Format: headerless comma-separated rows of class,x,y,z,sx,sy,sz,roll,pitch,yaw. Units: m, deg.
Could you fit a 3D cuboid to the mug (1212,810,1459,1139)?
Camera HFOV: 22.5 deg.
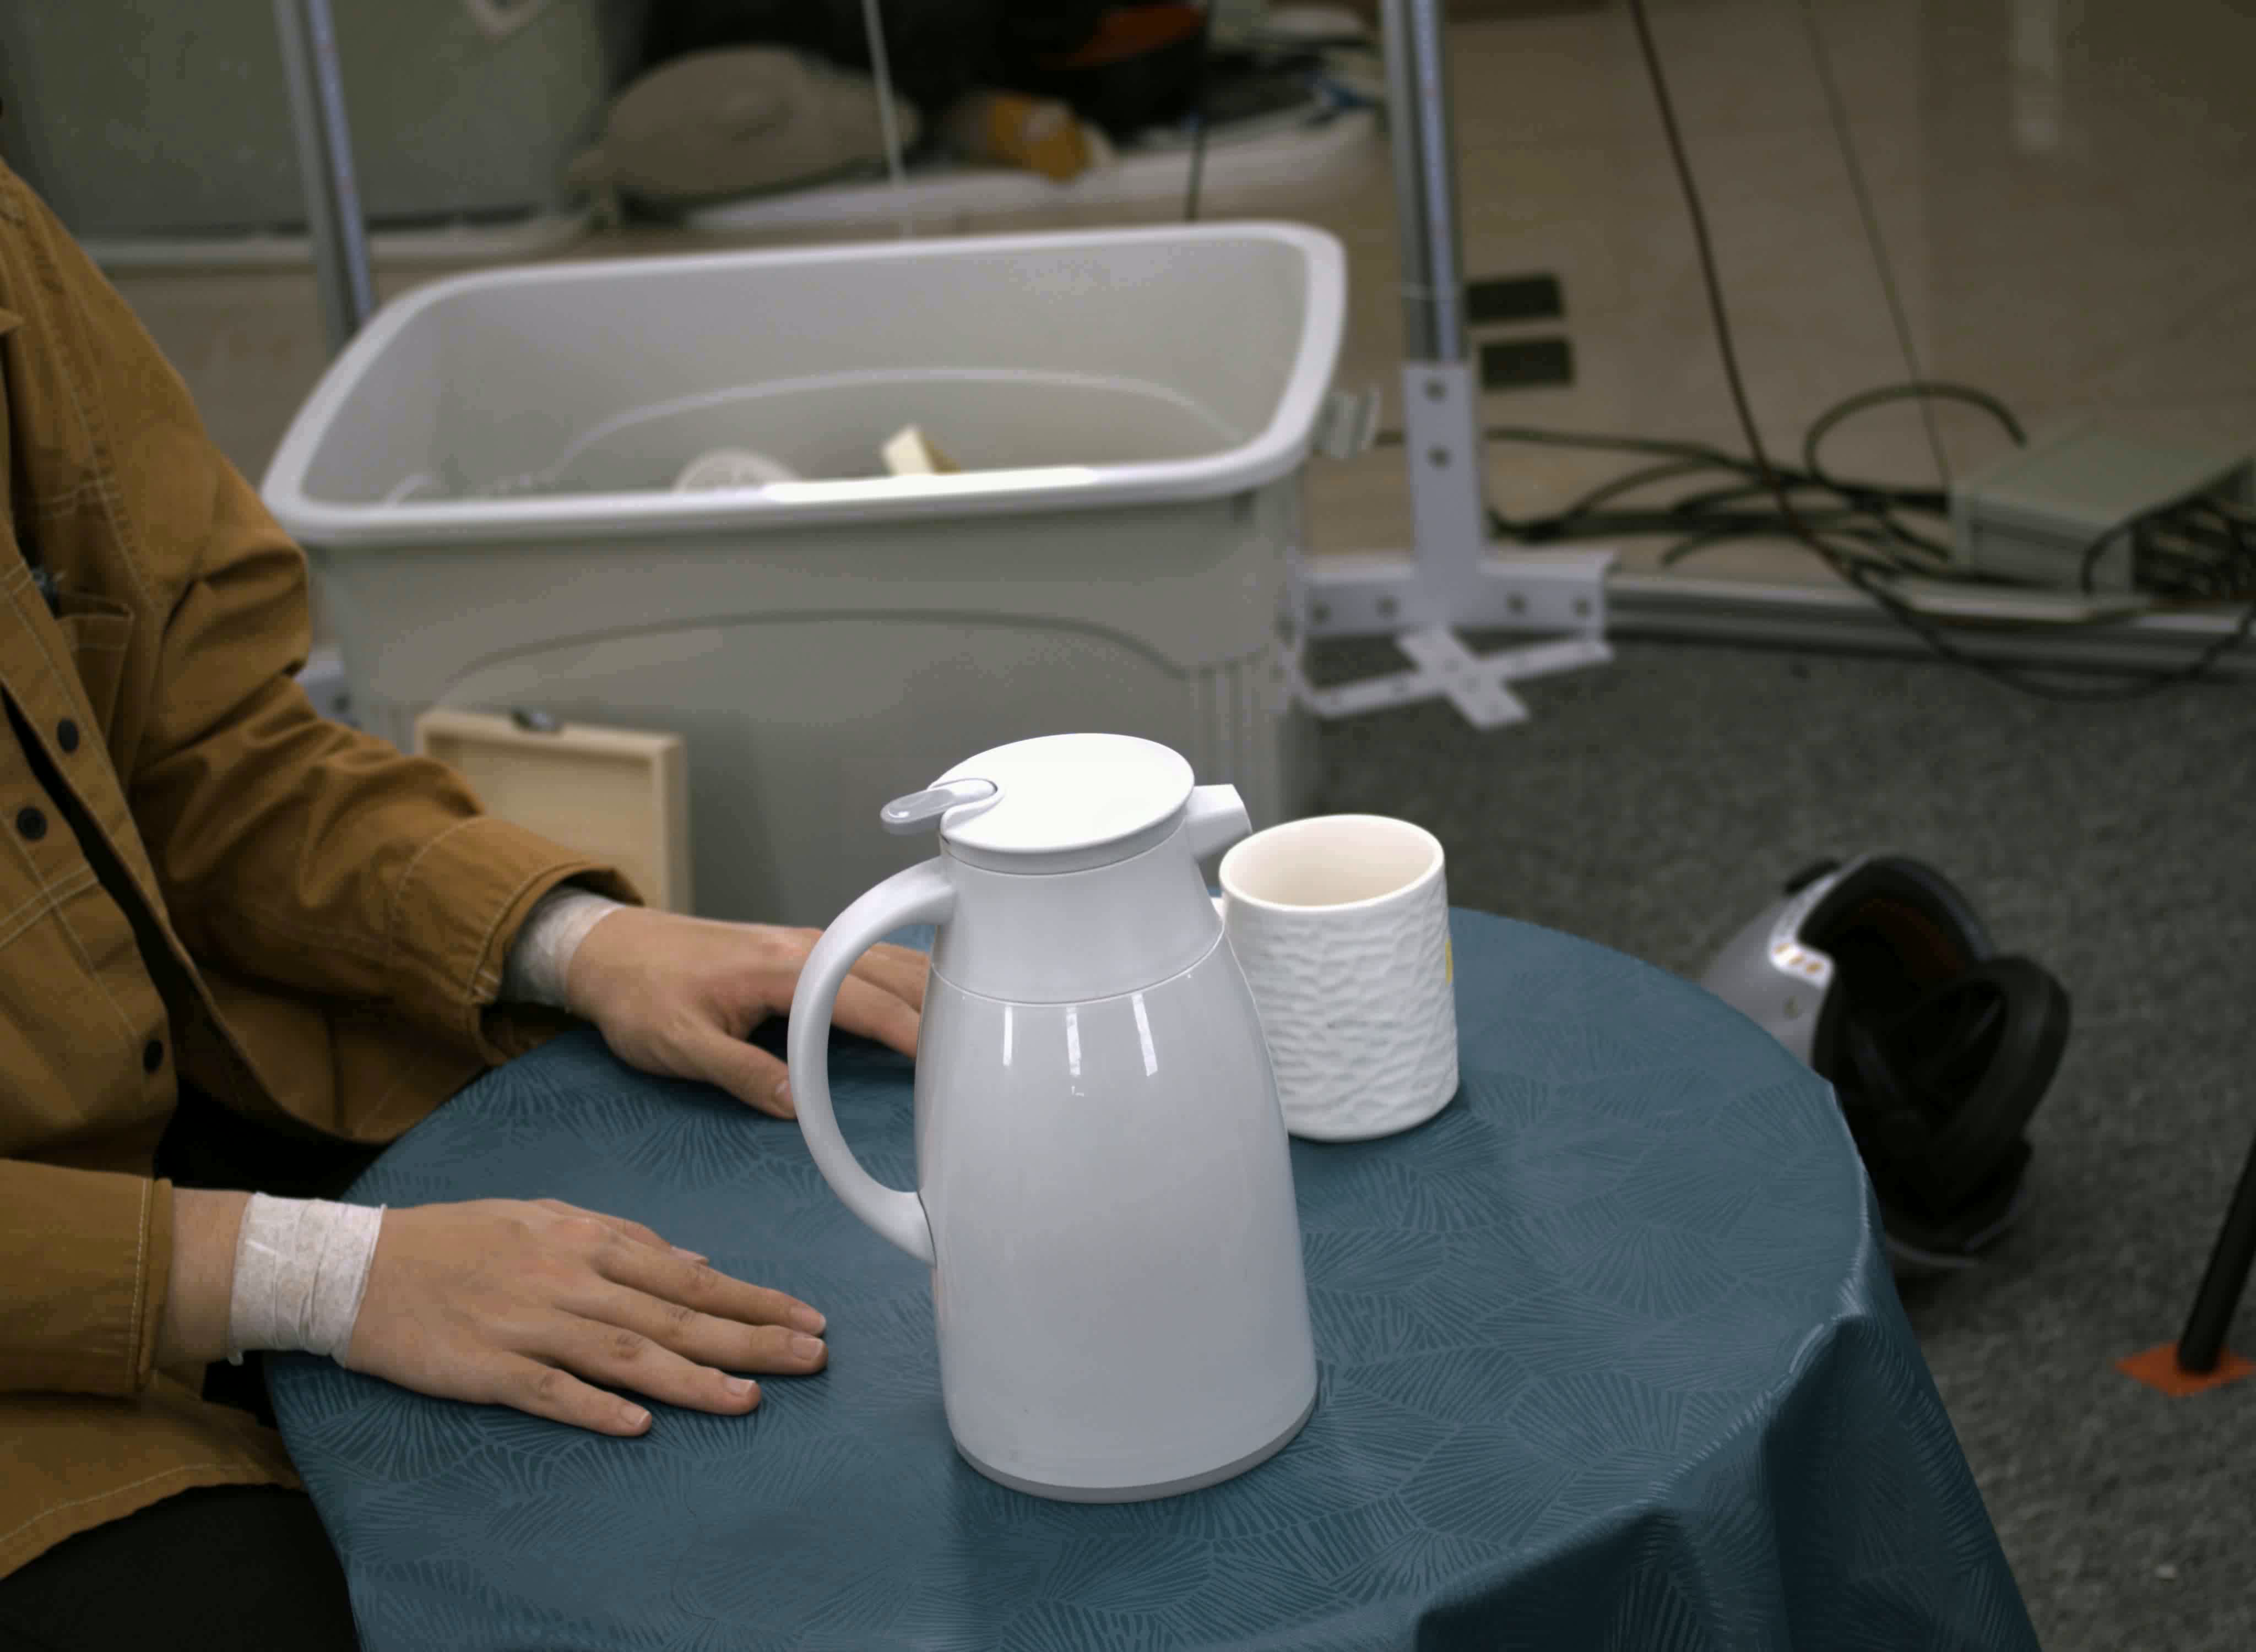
mug,0.068,0.058,2.179,0.118,0.103,0.083,0,27,9

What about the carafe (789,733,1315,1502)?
carafe,-0.029,0.097,1.948,0.167,0.253,0.130,-11,27,-9
